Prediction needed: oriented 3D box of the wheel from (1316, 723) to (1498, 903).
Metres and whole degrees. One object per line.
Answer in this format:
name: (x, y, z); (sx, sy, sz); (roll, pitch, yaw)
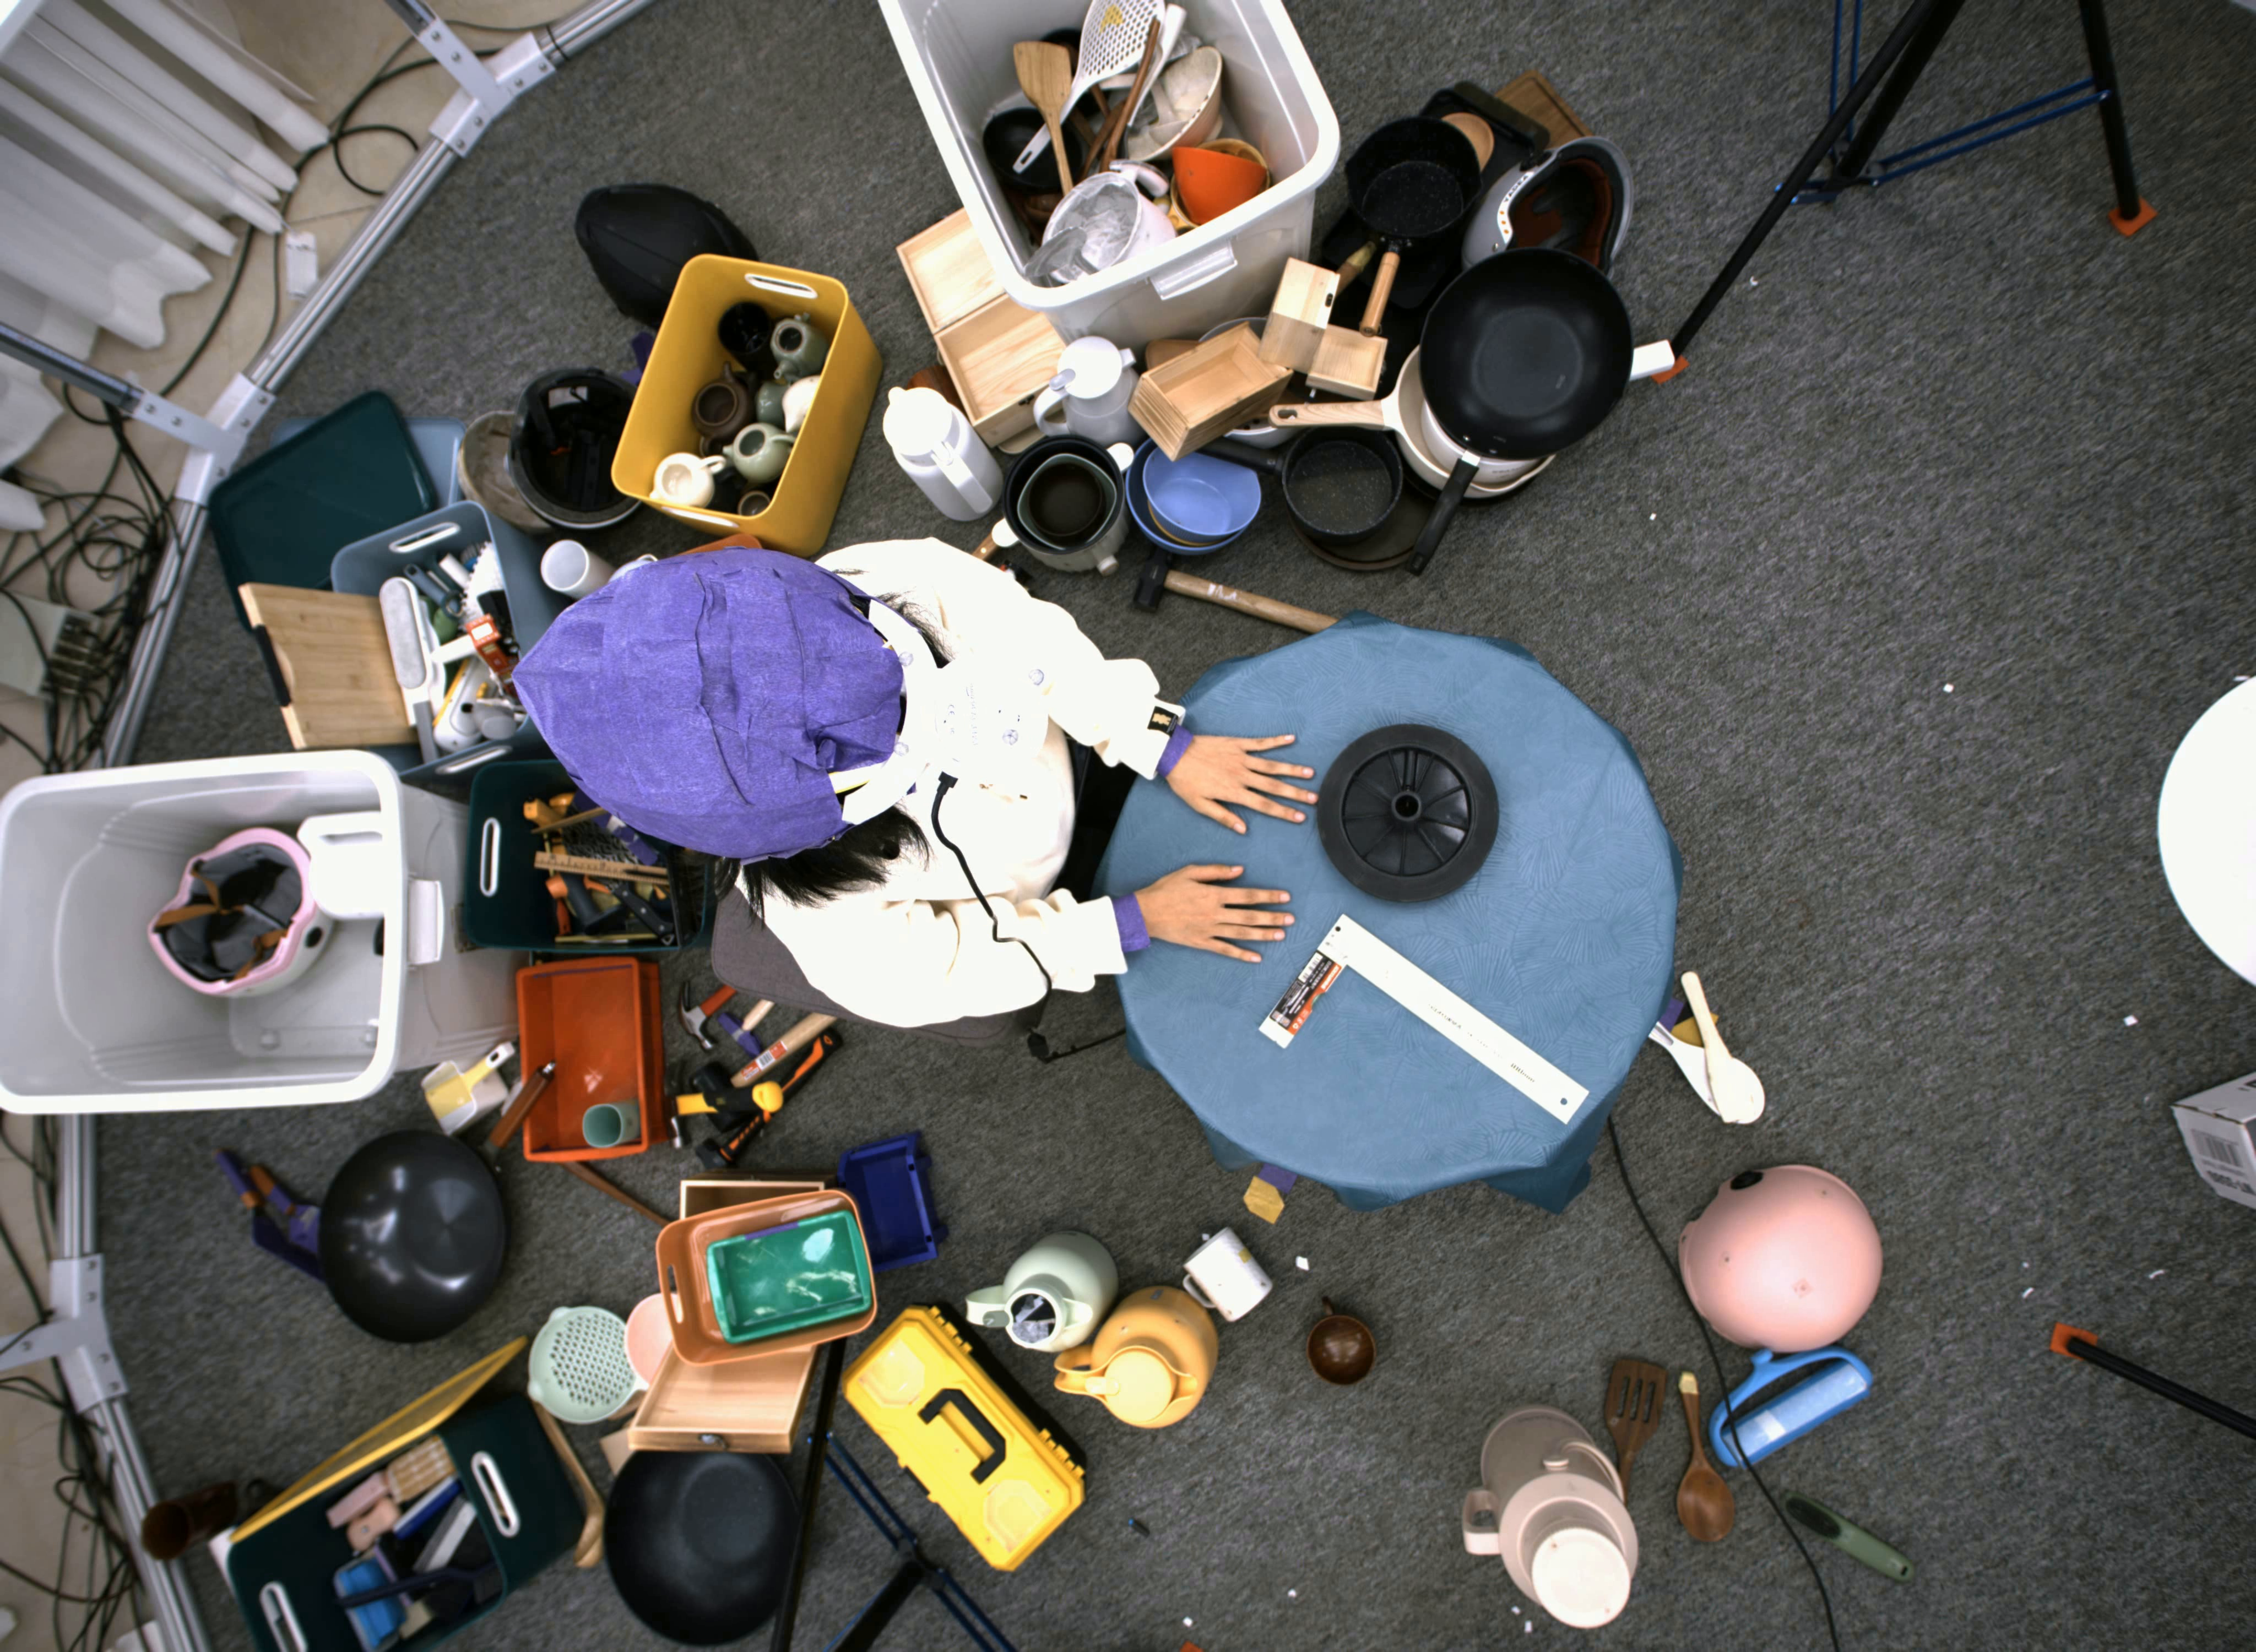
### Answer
wheel: (0.288, -0.018, 1.423); (0.188, 0.079, 0.188); (-19, 83, 10)

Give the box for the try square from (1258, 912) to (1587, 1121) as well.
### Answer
try square: (0.304, 0.239, 1.443); (0.312, 0.016, 0.153); (36, 96, 9)
